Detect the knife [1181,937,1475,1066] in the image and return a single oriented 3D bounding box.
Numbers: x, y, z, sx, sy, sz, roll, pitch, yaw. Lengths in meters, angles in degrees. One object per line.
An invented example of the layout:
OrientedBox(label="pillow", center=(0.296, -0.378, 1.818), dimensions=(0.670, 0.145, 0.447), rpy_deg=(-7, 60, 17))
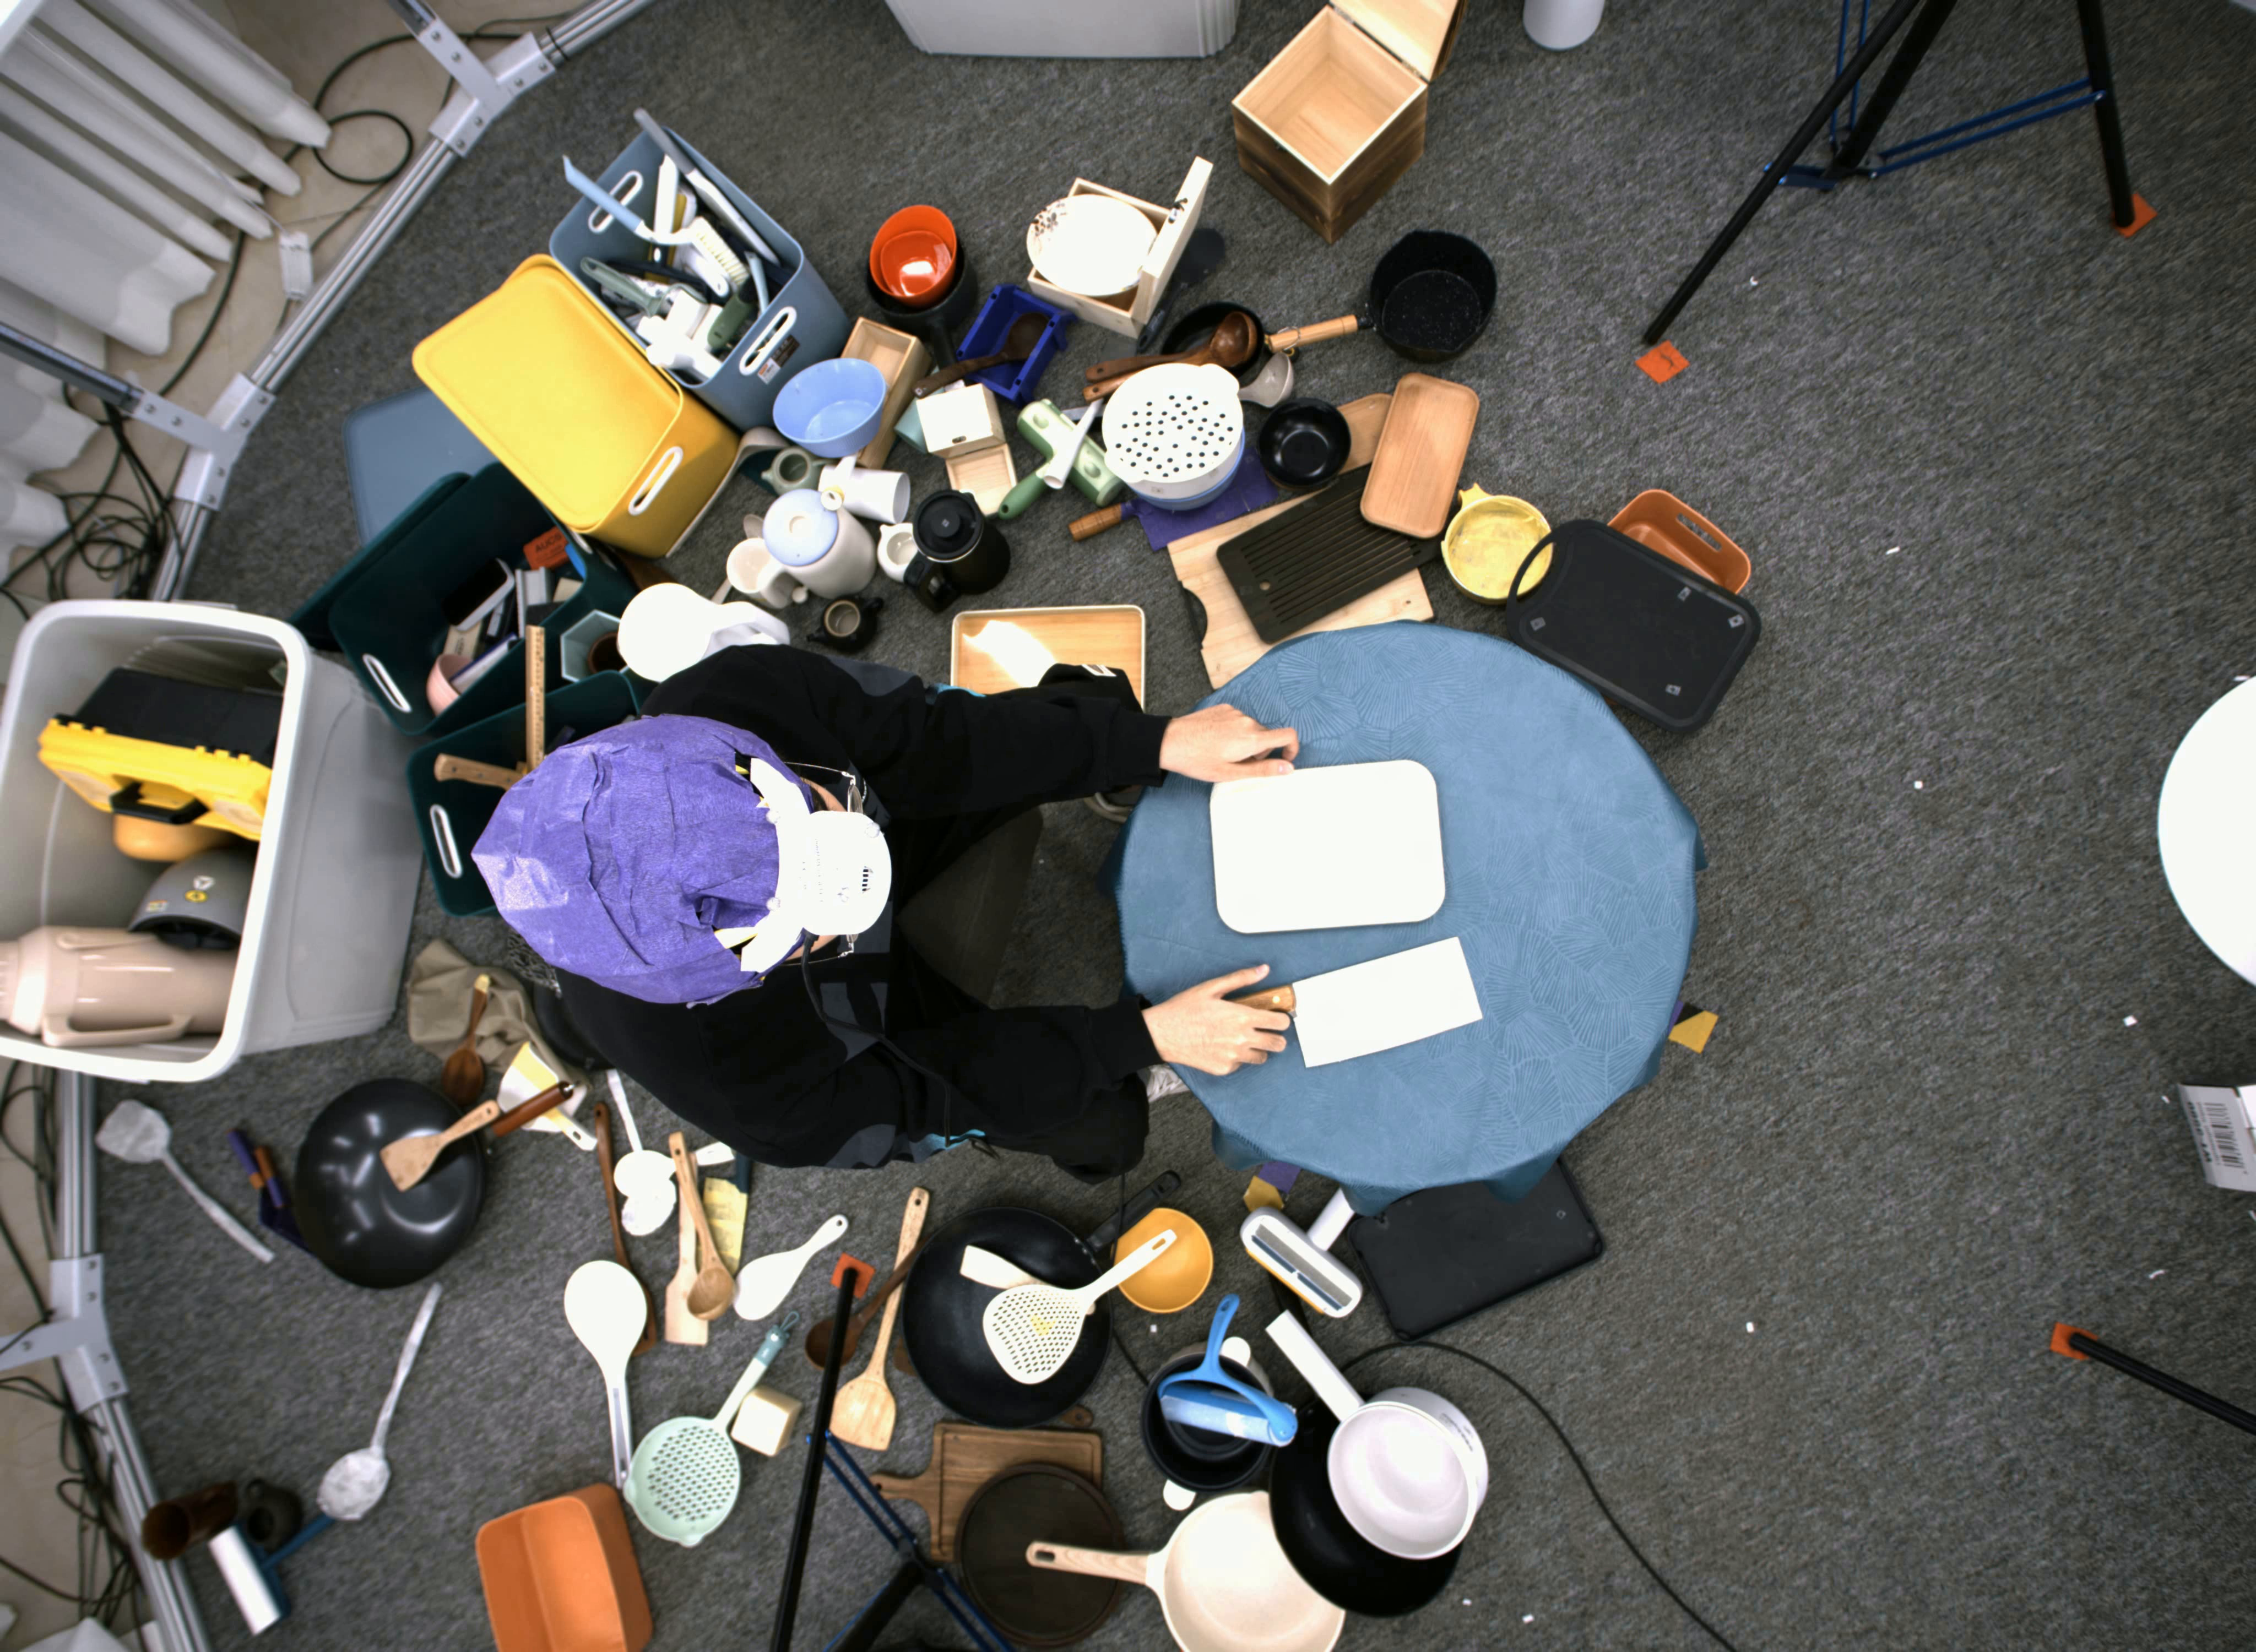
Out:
OrientedBox(label="knife", center=(0.211, 0.198, 1.456), dimensions=(0.307, 0.021, 0.092), rpy_deg=(-17, 86, 7))

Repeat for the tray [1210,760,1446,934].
OrientedBox(label="tray", center=(0.210, 0.022, 1.464), dimensions=(0.241, 0.017, 0.170), rpy_deg=(-5, 87, 10))
